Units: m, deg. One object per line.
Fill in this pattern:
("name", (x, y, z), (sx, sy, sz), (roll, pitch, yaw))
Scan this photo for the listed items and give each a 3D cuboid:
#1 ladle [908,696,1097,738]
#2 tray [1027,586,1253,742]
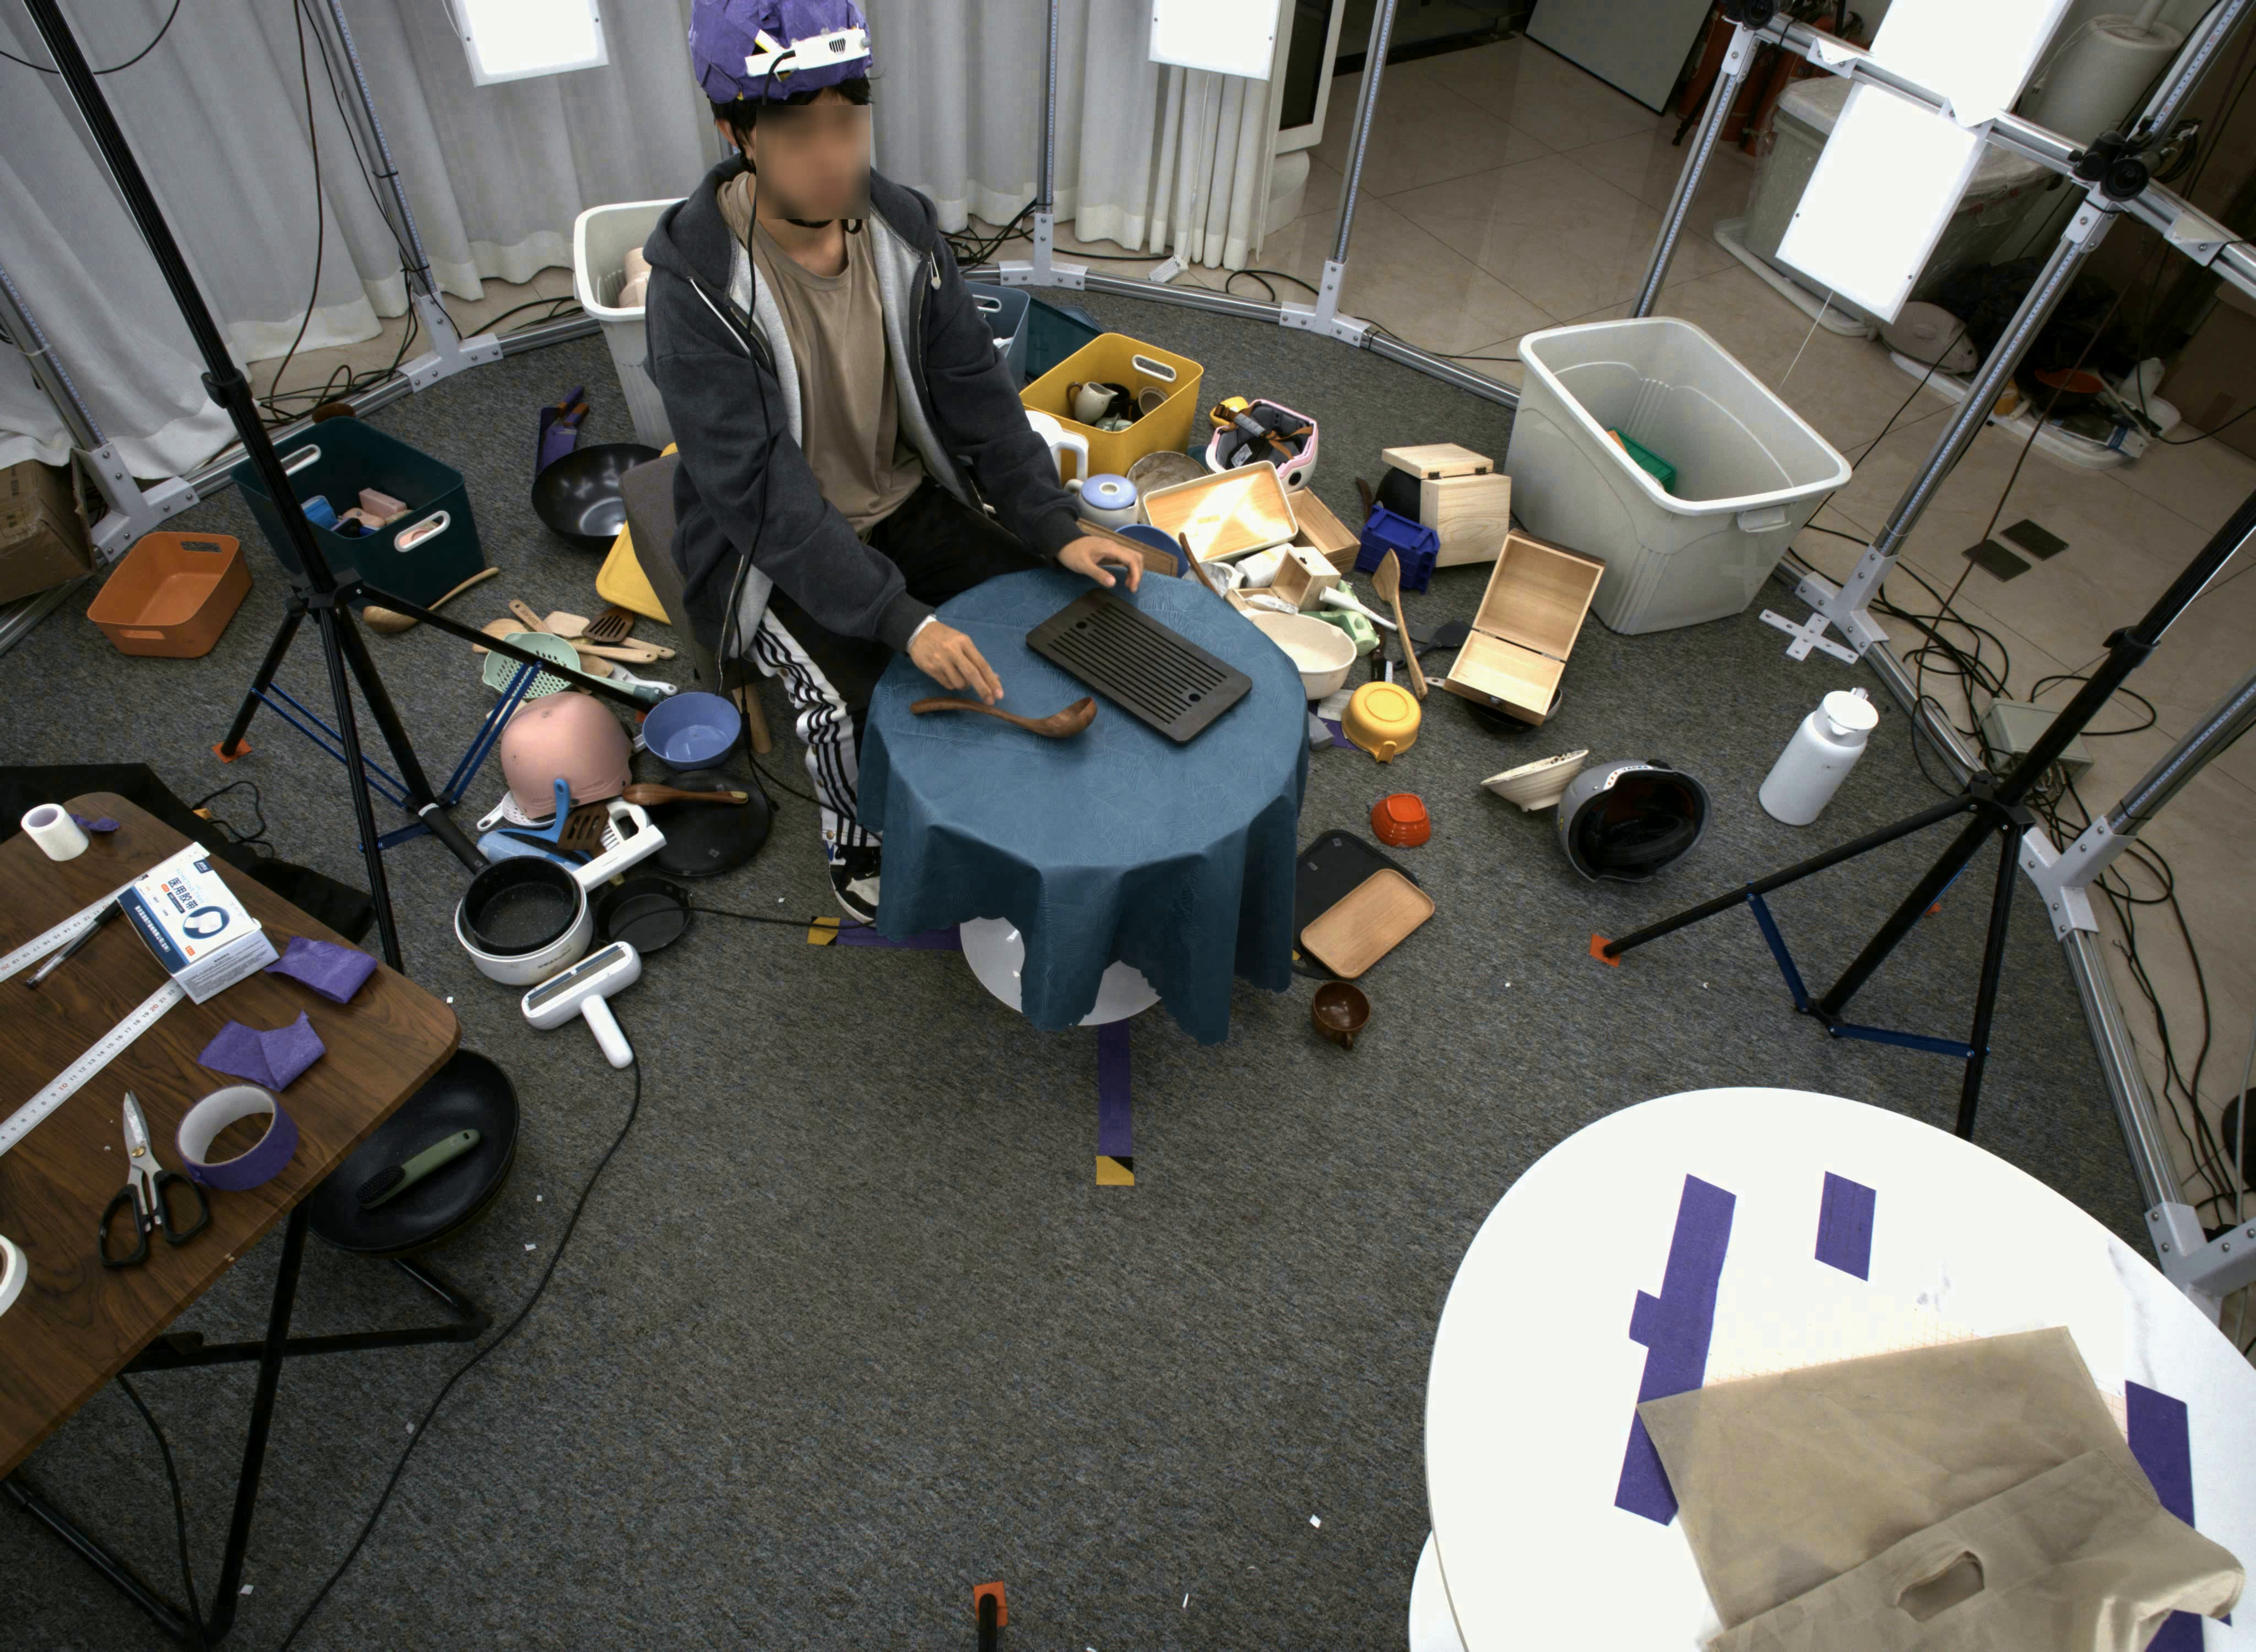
("ladle", (-0.172, -0.165, 1.757), (0.260, 0.064, 0.078), (10, 24, 6))
("tray", (0.015, -0.238, 1.862), (0.310, 0.018, 0.172), (35, 56, 24))
